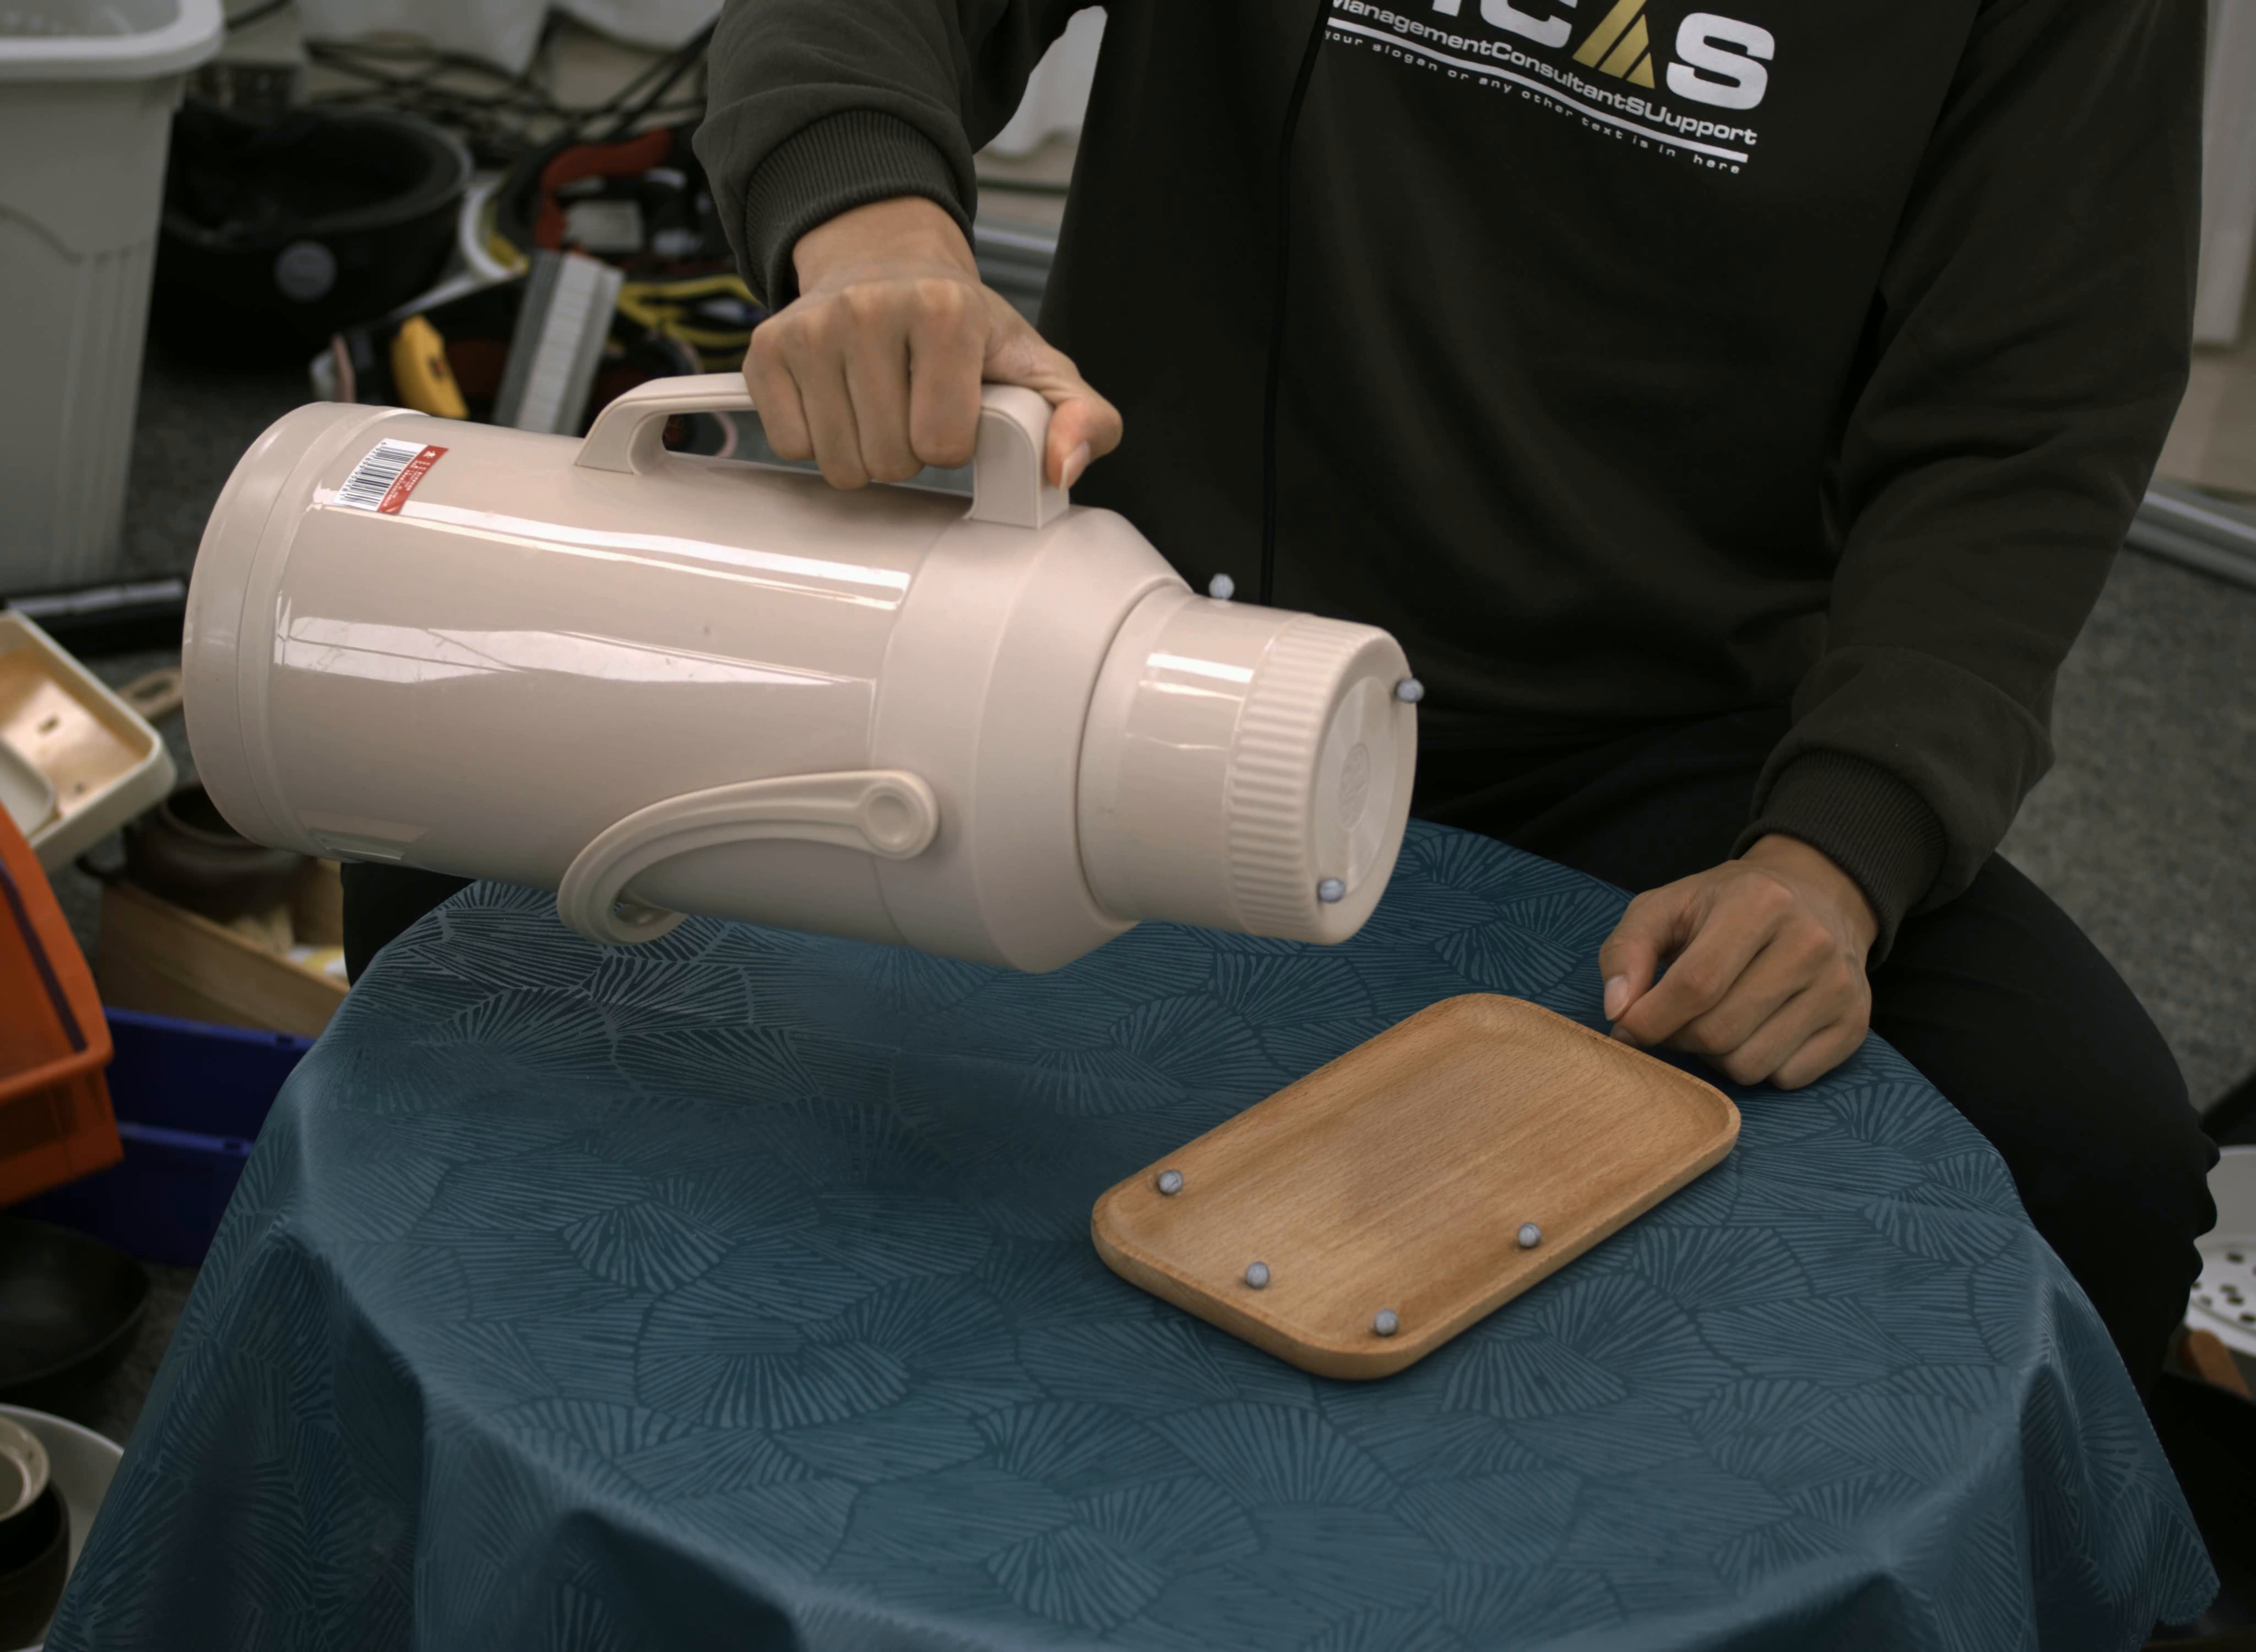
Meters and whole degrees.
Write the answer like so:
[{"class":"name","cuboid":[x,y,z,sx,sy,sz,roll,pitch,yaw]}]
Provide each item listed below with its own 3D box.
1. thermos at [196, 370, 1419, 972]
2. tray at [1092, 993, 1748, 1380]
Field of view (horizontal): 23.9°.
[{"class":"thermos","cuboid":[-0.106,-0.056,1.797,0.407,0.206,0.175,9,23,24]},{"class":"tray","cuboid":[0.102,0.121,1.819,0.131,0.023,0.250,27,32,30]}]
